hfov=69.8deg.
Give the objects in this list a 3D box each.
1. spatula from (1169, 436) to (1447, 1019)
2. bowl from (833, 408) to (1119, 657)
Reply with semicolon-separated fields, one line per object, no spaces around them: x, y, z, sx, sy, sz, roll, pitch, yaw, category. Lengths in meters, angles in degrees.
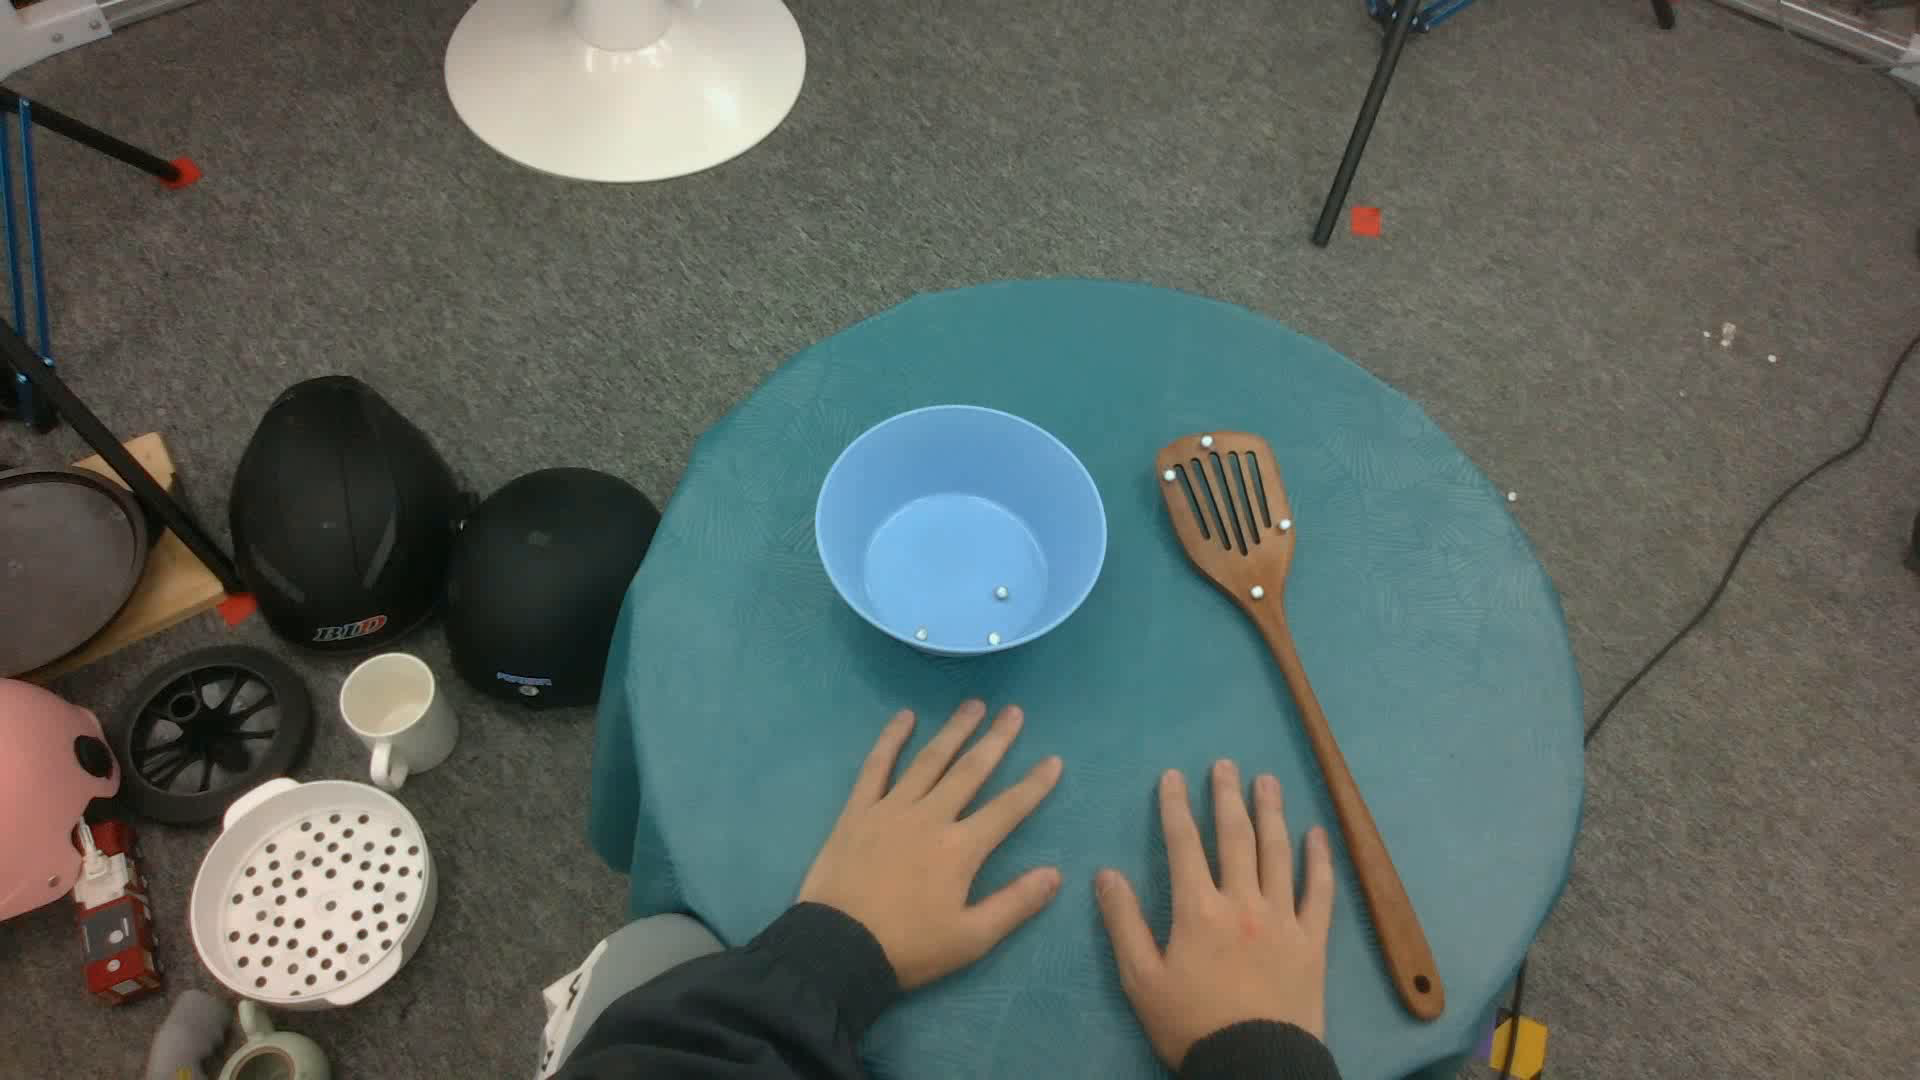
0.219;0.099;0.851;0.085;0.024;0.388;-9;60;-9;spatula
0.009;0.007;0.866;0.176;0.070;0.177;2;59;-2;bowl
